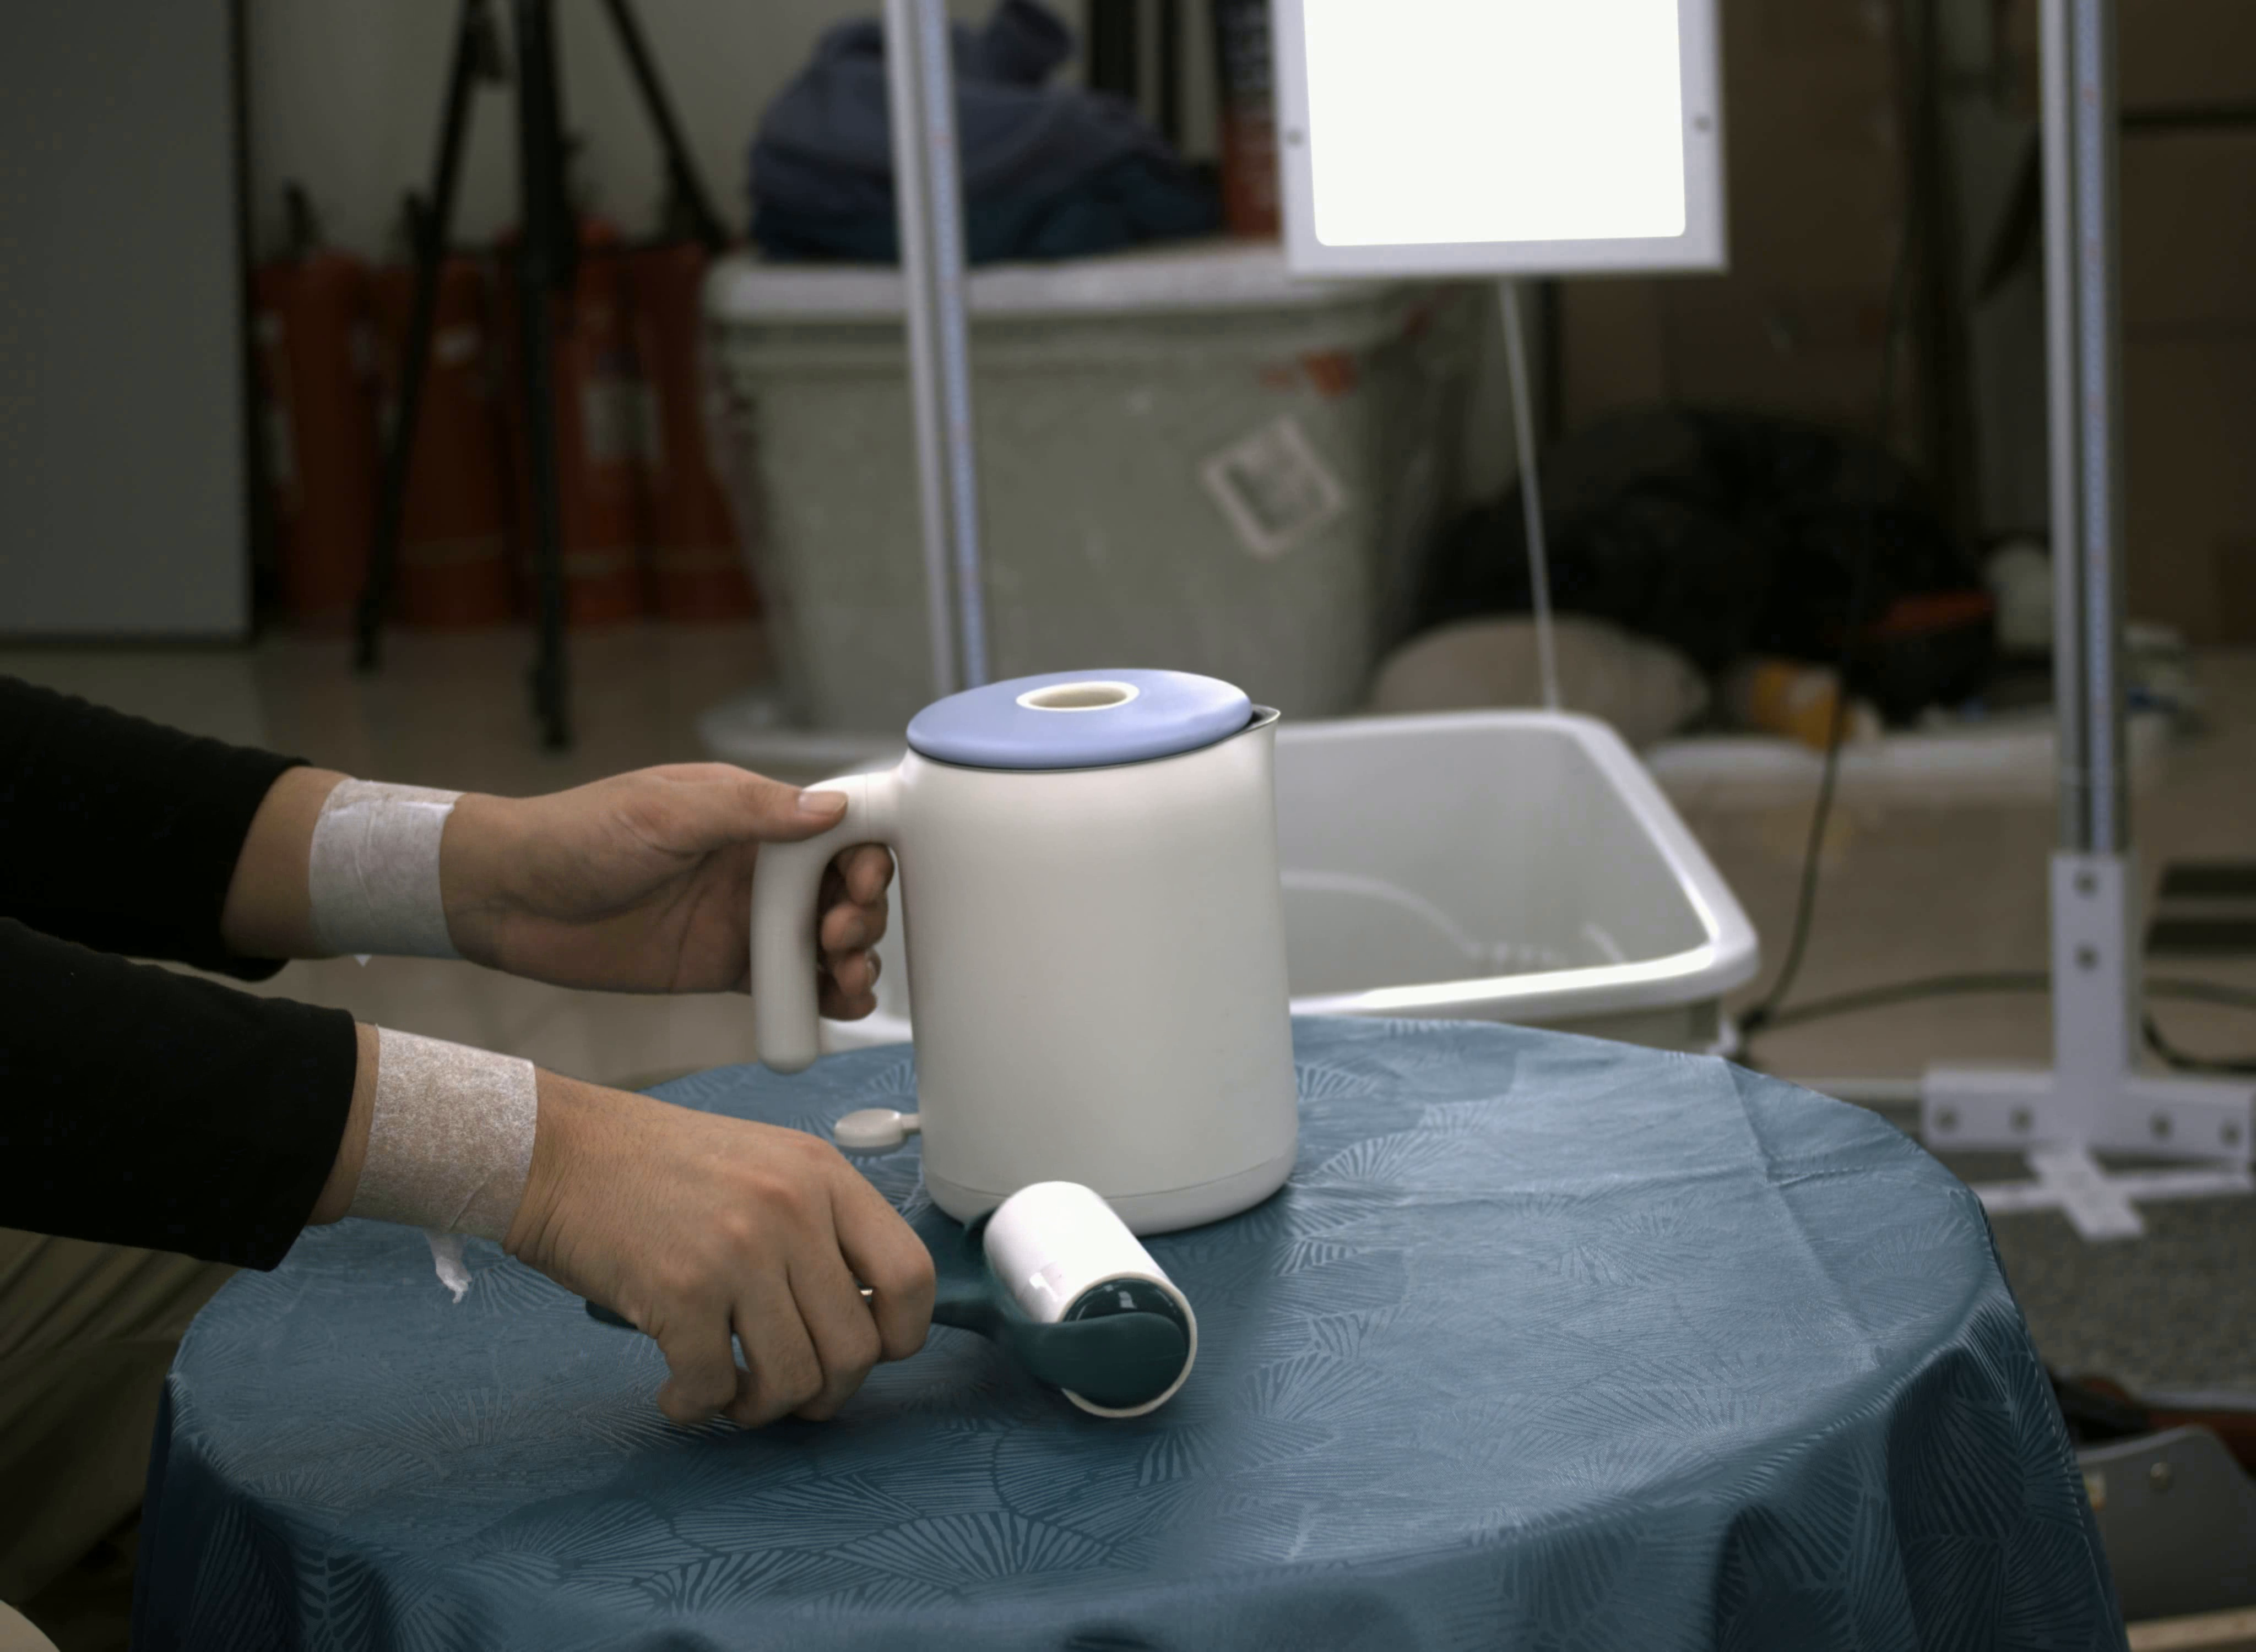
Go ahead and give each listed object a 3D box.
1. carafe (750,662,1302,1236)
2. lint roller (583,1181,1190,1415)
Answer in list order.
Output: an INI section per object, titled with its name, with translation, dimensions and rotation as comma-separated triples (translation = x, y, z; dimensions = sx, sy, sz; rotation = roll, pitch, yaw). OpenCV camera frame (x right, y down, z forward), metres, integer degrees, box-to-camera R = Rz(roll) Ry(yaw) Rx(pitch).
[carafe]
translation = -0.035, 0.045, 1.884
dimensions = 0.191, 0.183, 0.132
rotation = -7, 13, 1
[lint roller]
translation = -0.078, 0.144, 1.706
dimensions = 0.178, 0.048, 0.135
rotation = 2, 12, -10
